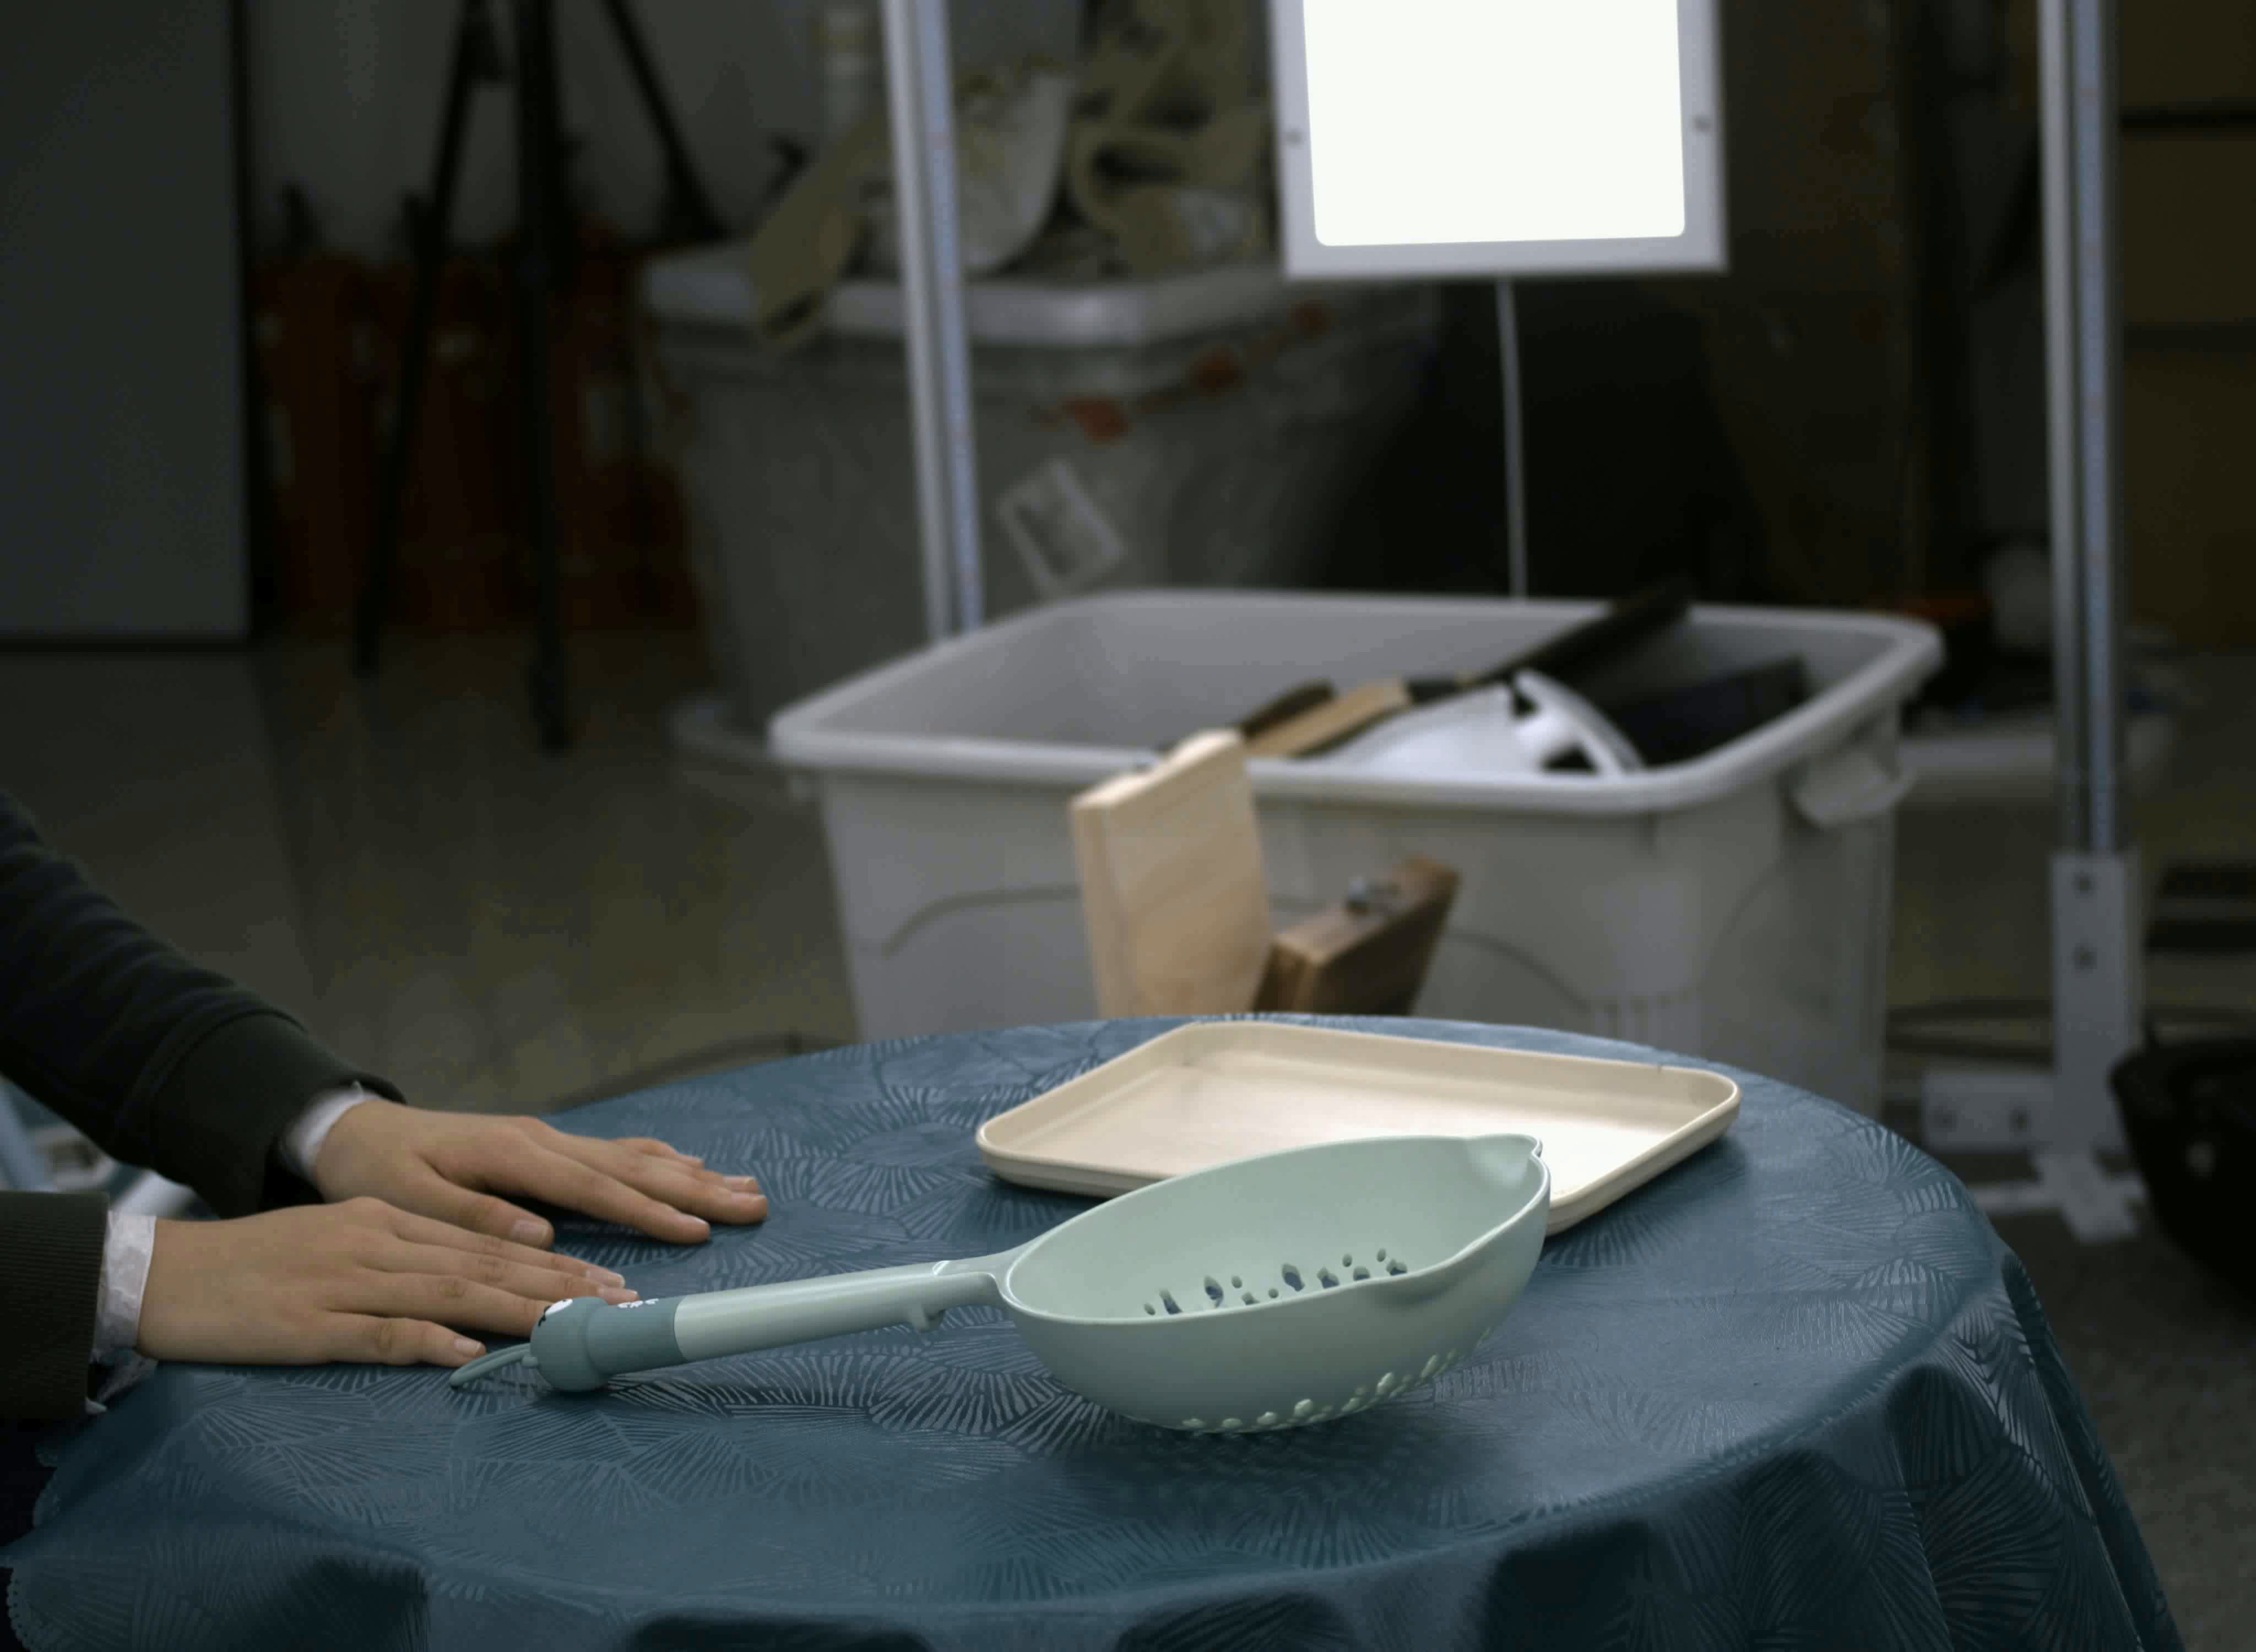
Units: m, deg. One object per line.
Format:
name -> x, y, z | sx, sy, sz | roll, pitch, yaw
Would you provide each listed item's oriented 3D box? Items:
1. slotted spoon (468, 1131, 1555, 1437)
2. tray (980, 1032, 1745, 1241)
slotted spoon -> -0.043, 0.146, 1.699 | 0.363, 0.075, 0.166 | -1, 14, 19
tray -> 0.082, 0.108, 1.912 | 0.244, 0.017, 0.167 | 4, 16, 35
